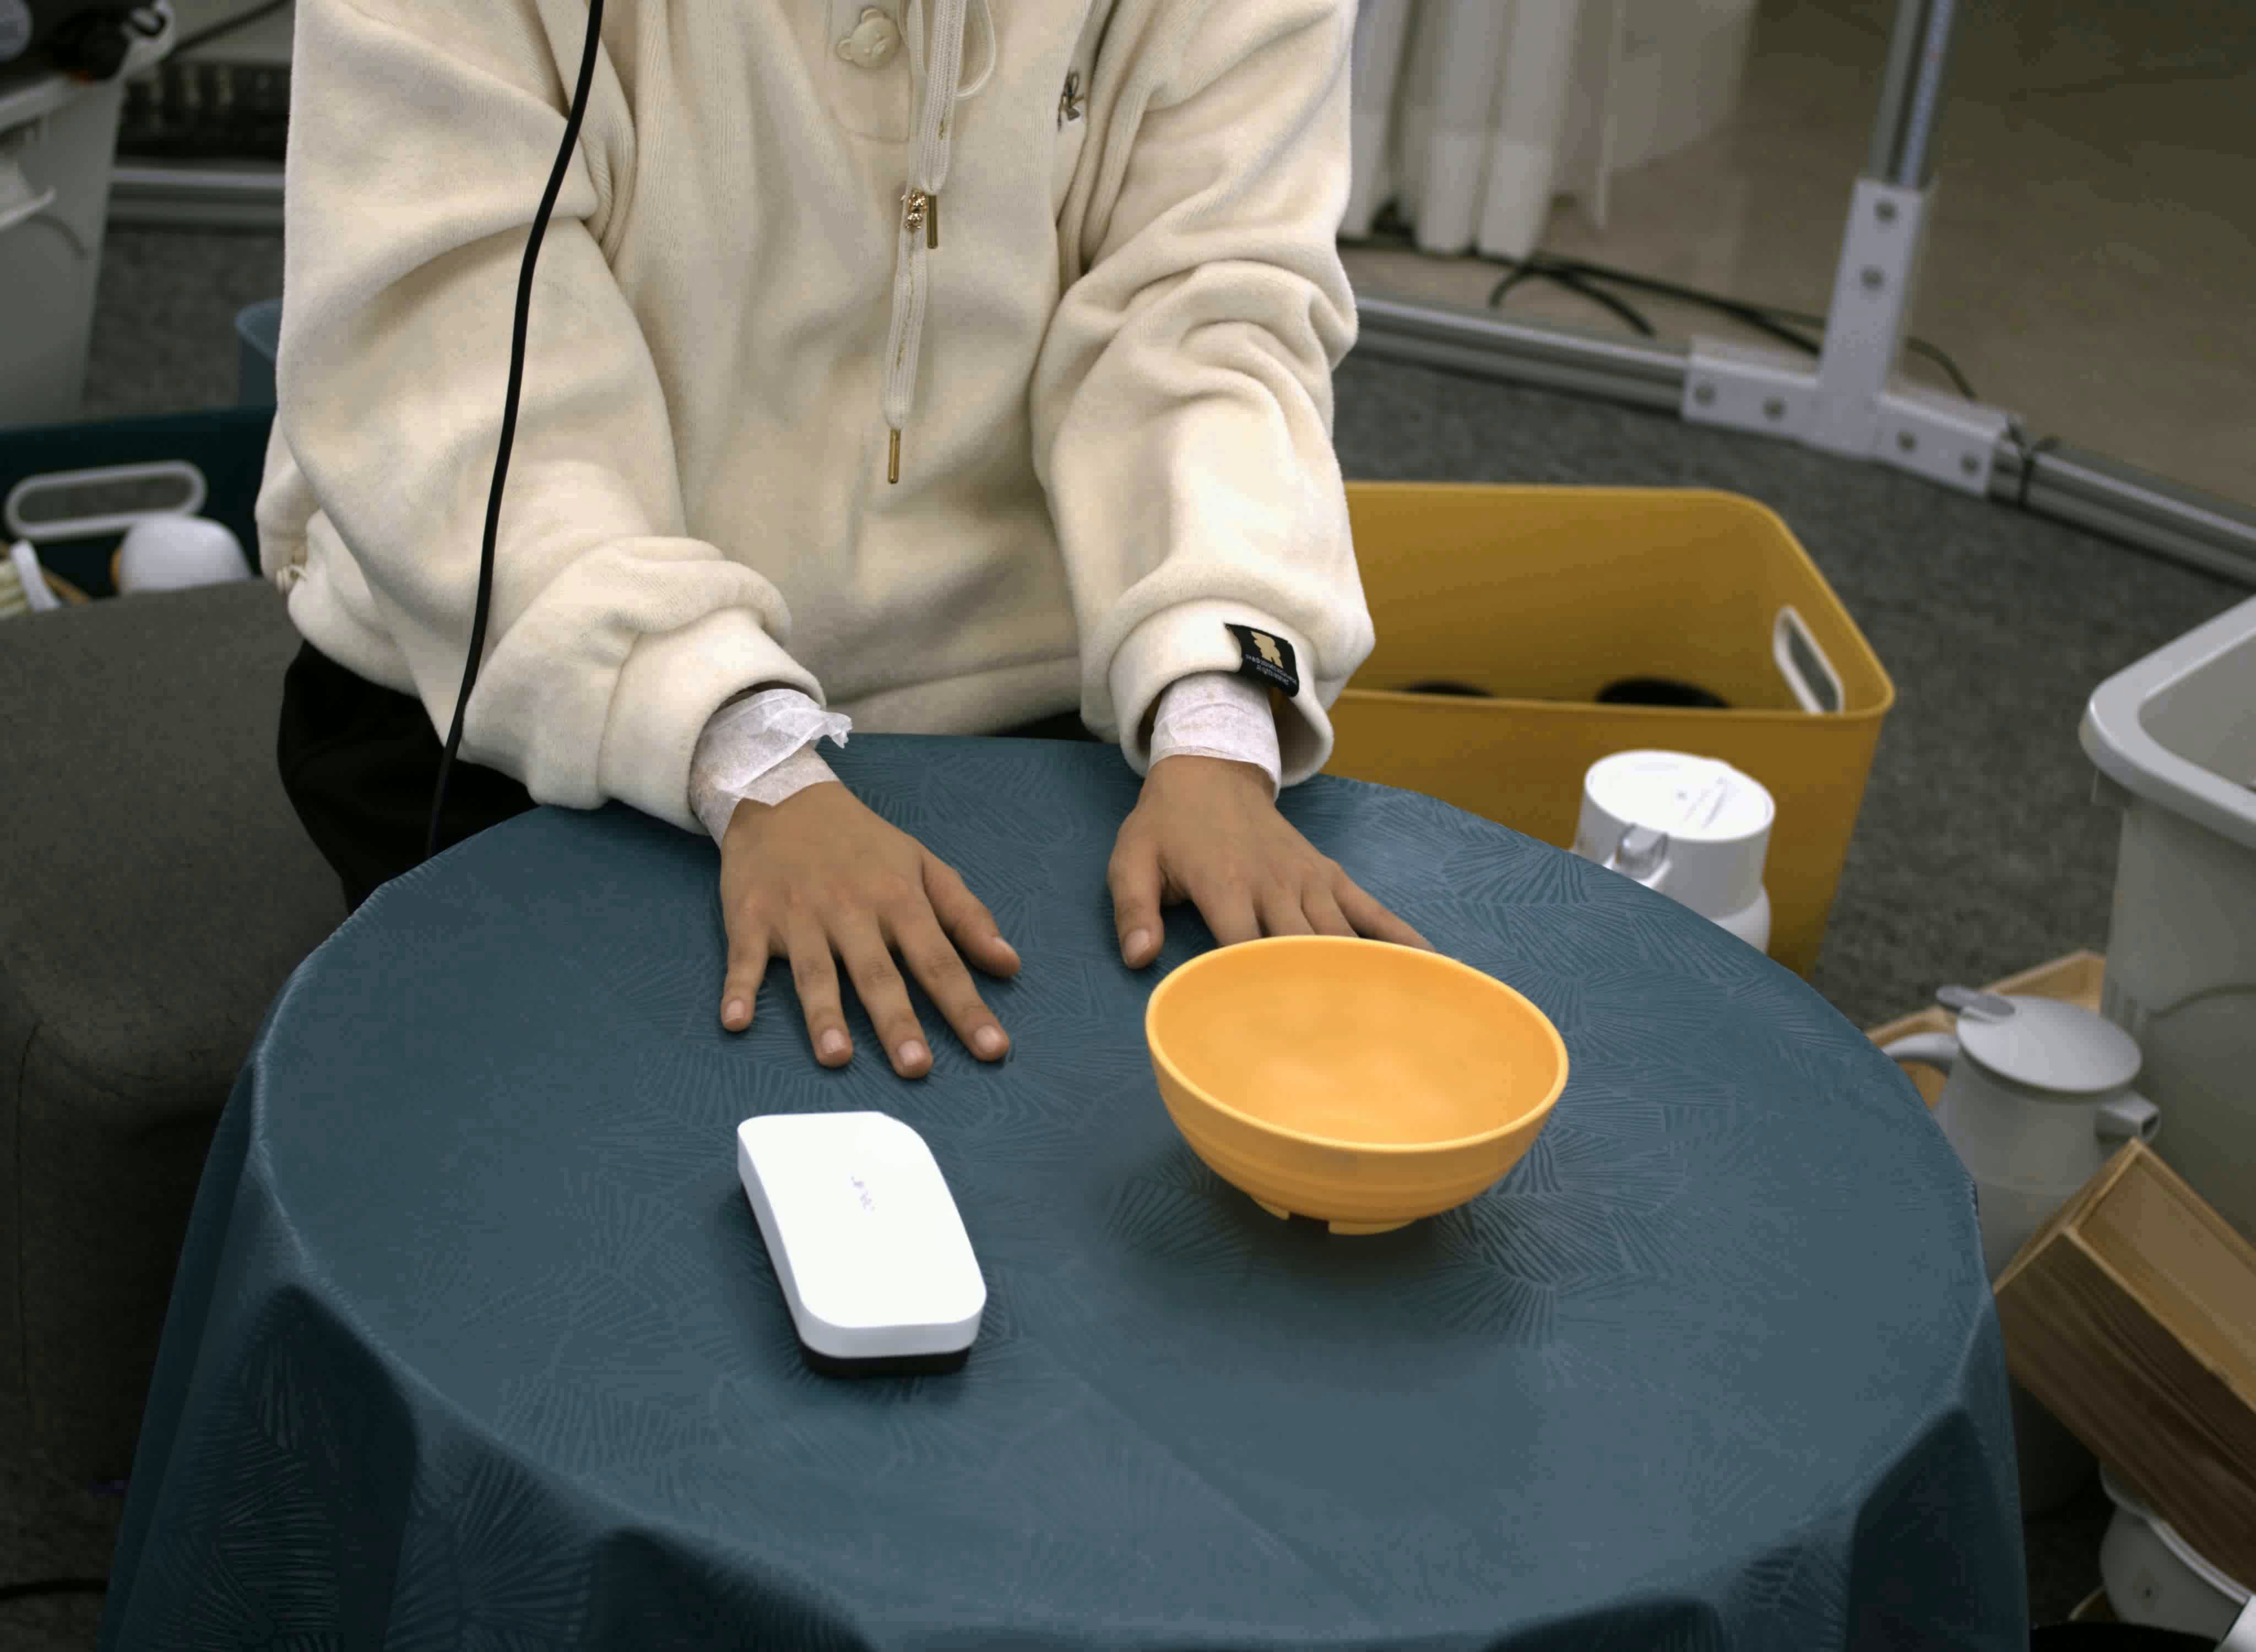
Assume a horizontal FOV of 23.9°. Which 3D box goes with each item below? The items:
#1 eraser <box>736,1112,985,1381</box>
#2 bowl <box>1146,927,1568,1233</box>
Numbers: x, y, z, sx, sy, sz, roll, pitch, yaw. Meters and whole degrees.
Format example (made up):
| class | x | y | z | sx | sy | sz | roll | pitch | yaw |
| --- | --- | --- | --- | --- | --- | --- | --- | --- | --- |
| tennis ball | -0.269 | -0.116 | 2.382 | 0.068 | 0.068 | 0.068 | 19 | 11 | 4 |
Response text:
| class | x | y | z | sx | sy | sz | roll | pitch | yaw |
| --- | --- | --- | --- | --- | --- | --- | --- | --- | --- |
| eraser | -0.087 | 0.133 | 1.731 | 0.063 | 0.034 | 0.132 | -1 | 28 | -15 |
| bowl | 0.075 | 0.096 | 1.808 | 0.145 | 0.060 | 0.146 | 5 | 29 | -3 |
